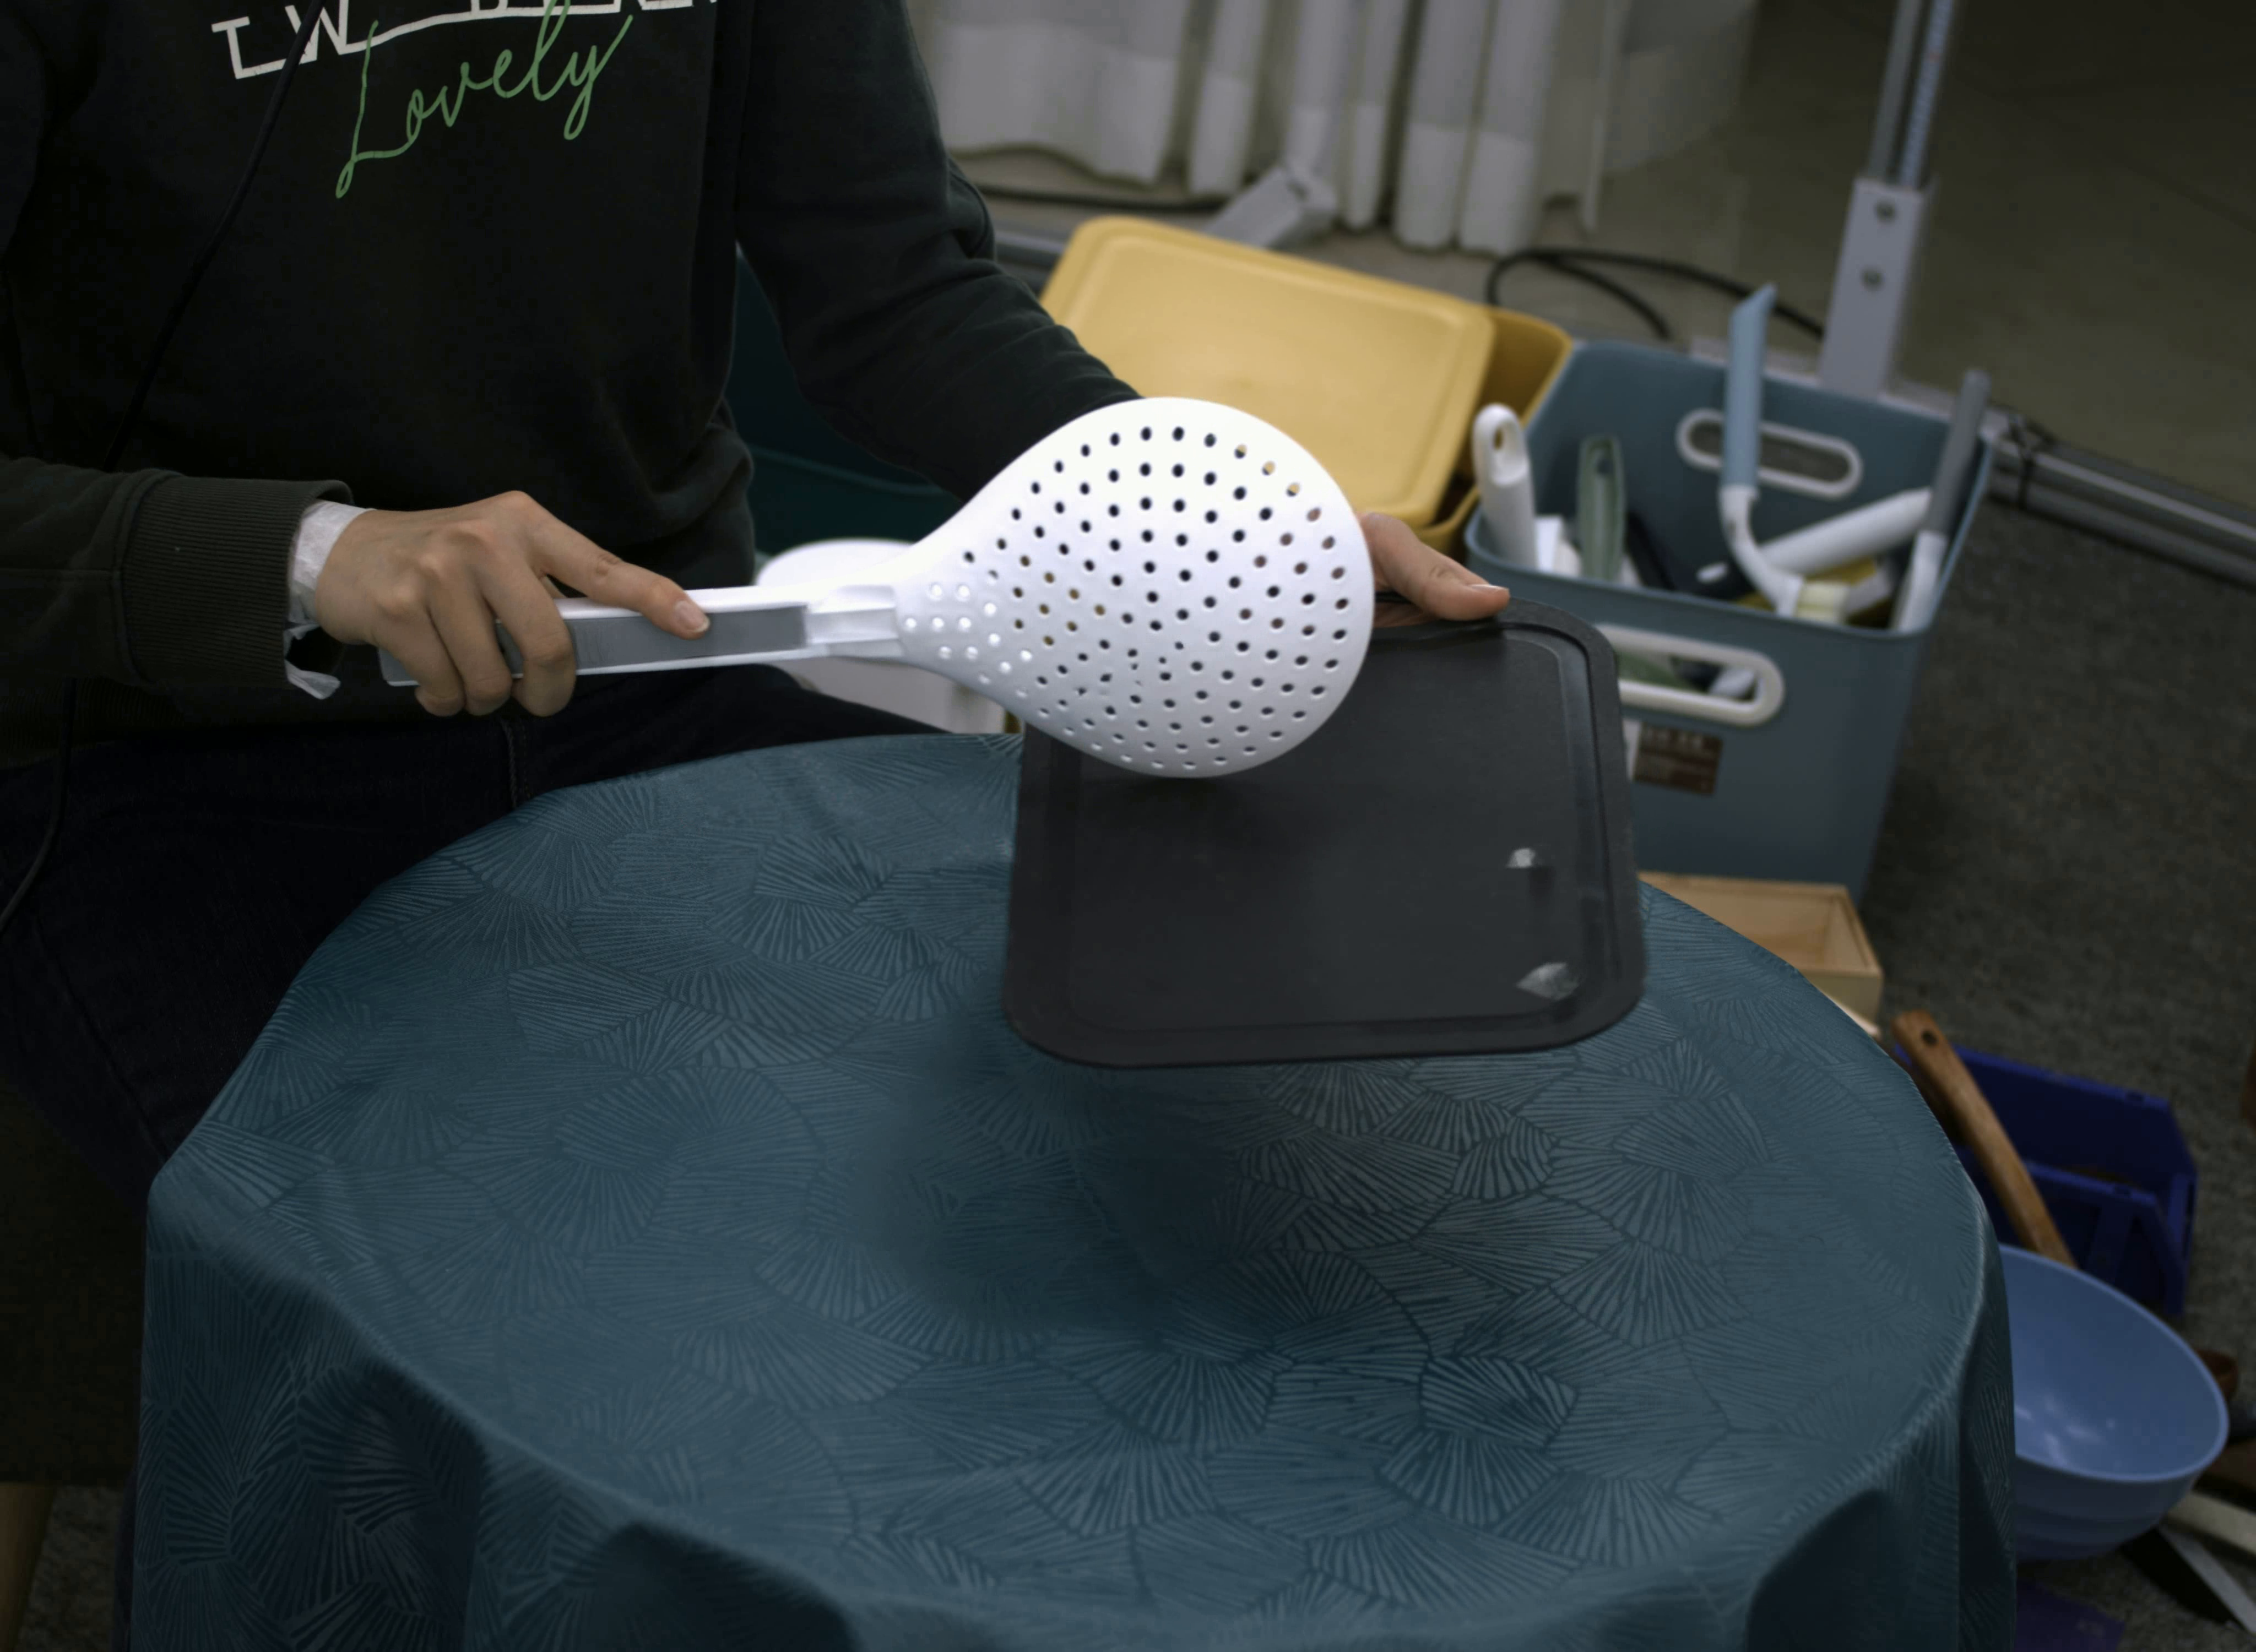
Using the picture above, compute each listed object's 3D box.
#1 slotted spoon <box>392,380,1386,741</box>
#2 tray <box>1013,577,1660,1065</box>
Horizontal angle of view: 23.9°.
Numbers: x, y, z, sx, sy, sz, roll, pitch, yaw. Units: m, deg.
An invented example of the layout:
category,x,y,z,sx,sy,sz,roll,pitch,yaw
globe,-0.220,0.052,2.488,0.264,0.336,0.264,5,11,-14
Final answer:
category,x,y,z,sx,sy,sz,roll,pitch,yaw
slotted spoon,-0.086,-0.072,1.830,0.350,0.135,0.046,-6,26,15
tray,0.069,-0.010,1.813,0.210,0.010,0.327,-3,30,4
